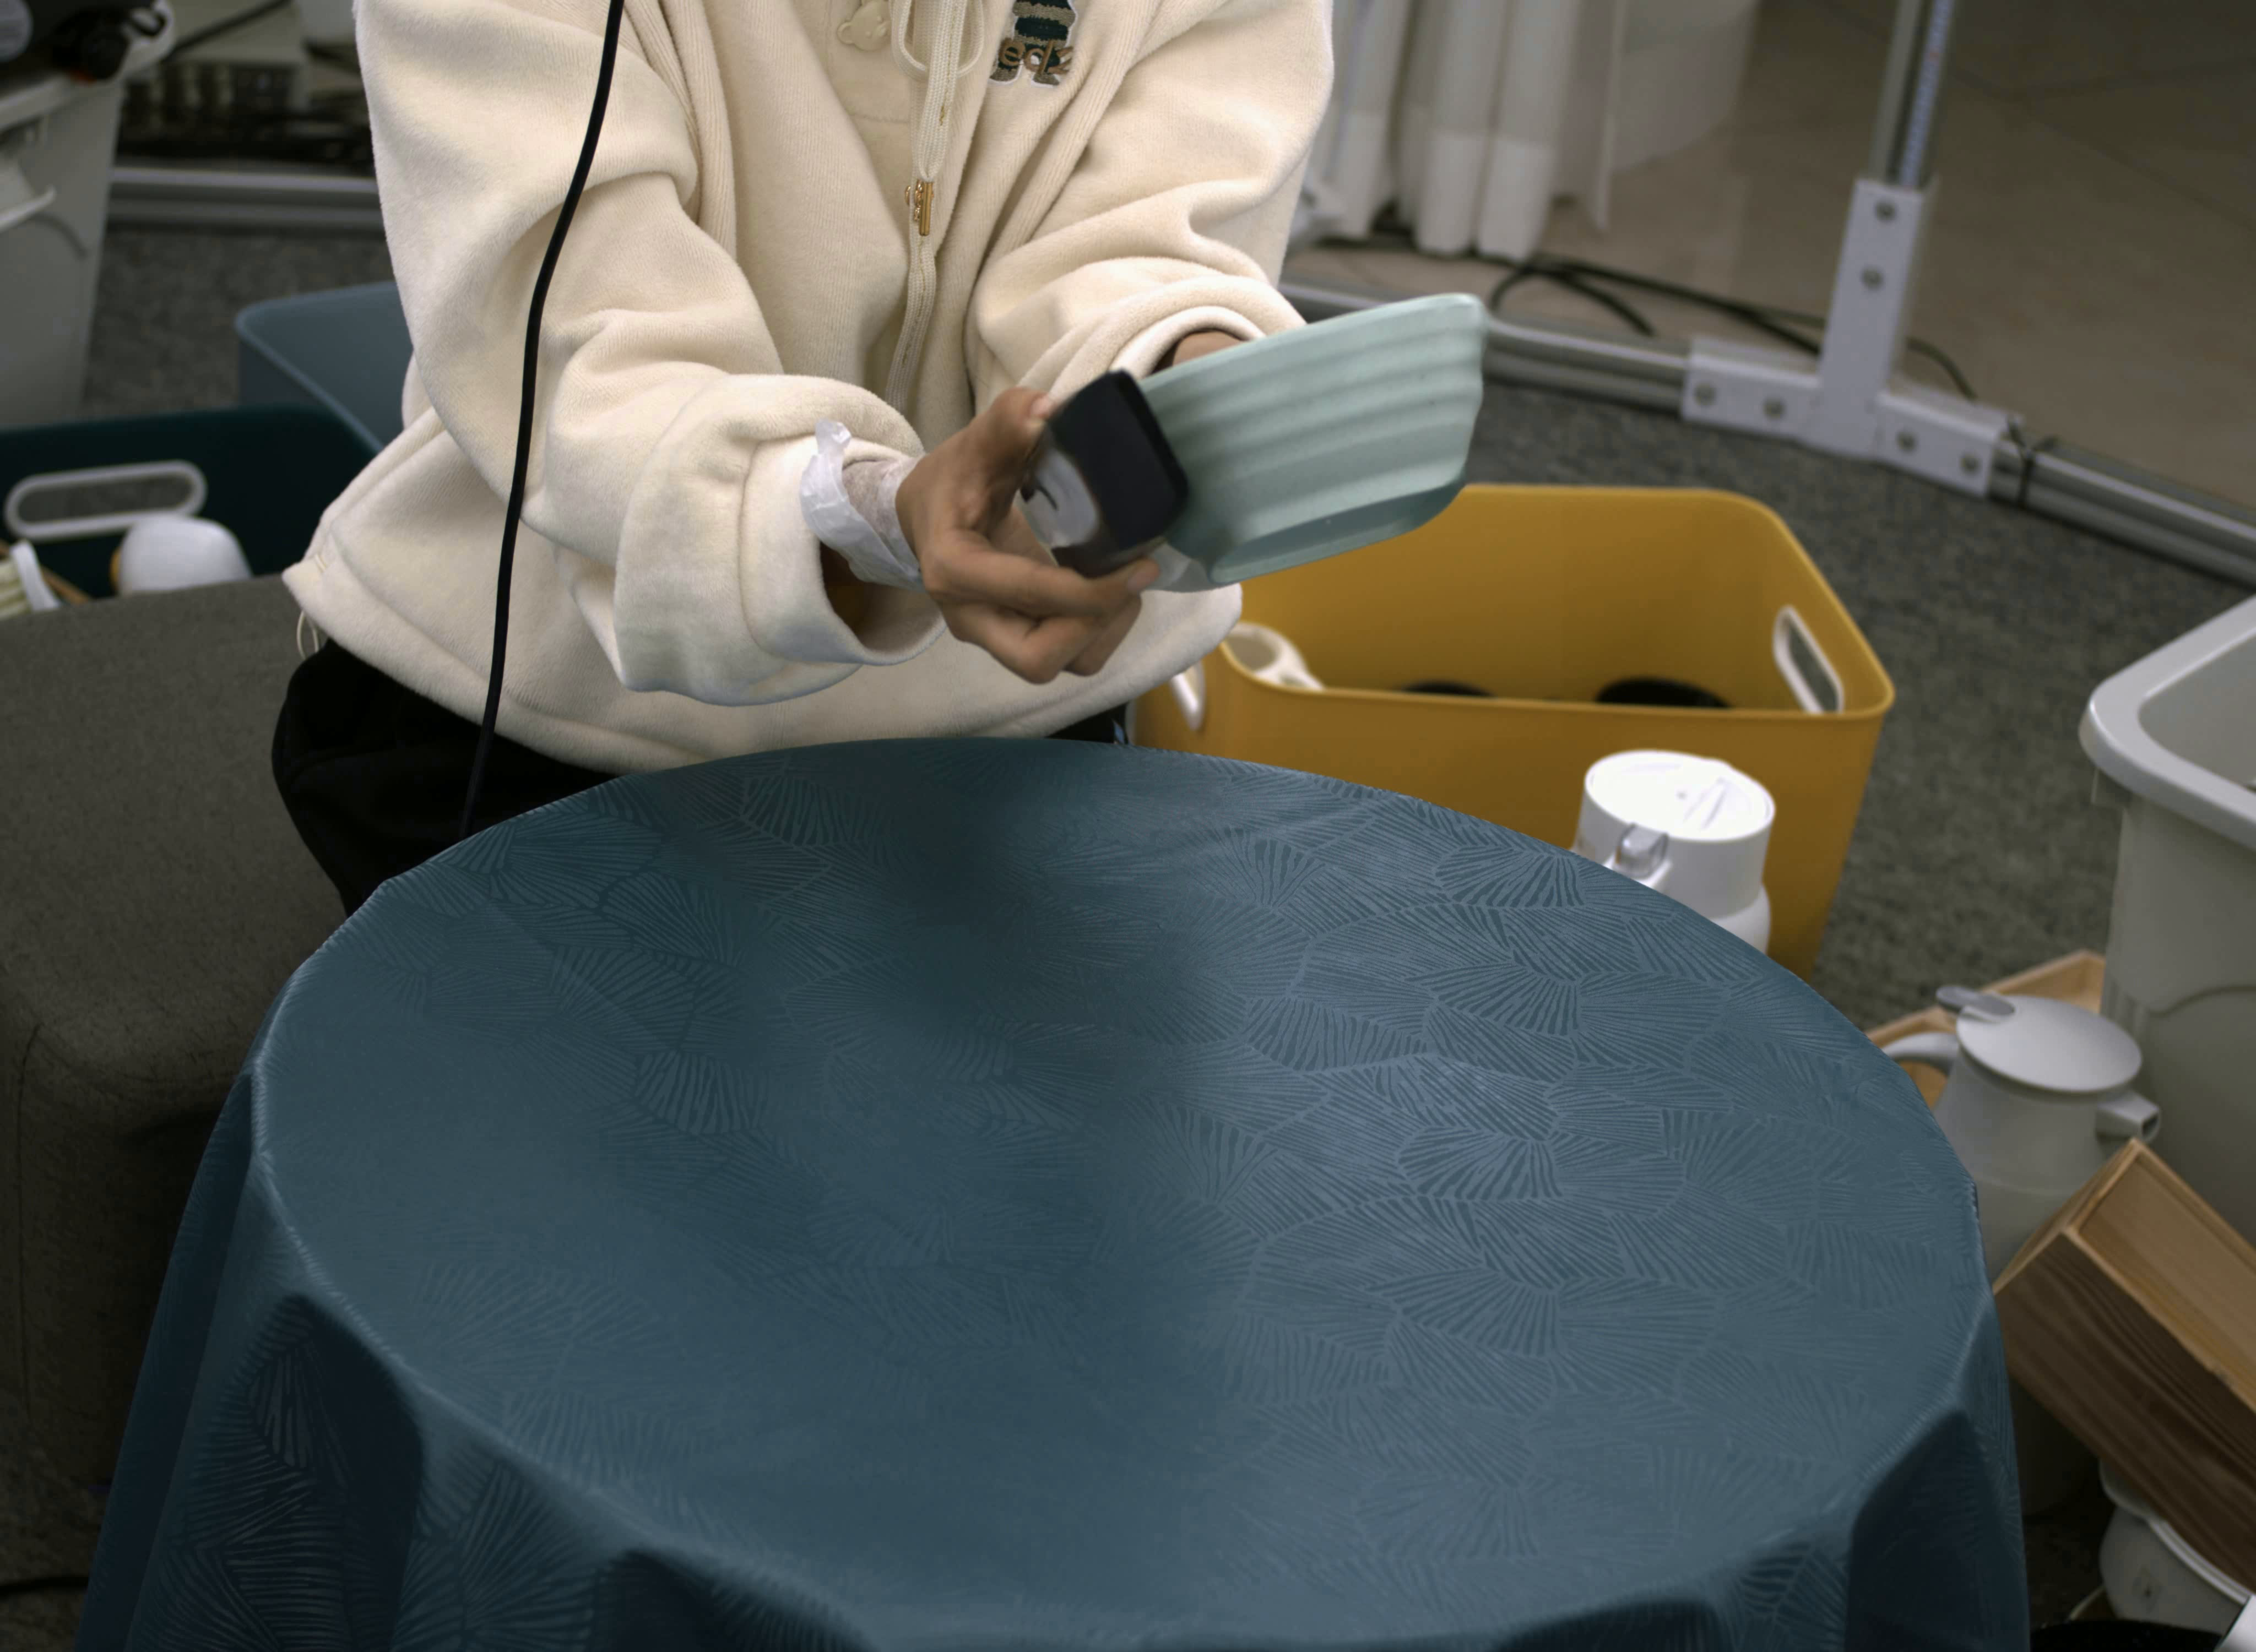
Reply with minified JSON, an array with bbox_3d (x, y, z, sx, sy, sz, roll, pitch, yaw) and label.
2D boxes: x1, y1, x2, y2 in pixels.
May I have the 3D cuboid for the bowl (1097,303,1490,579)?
[{"bbox_3d":[0.057,-0.122,1.752,0.151,0.059,0.151,-14,-6,-2],"label":"bowl"}]

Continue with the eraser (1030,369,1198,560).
[{"bbox_3d":[-0.006,-0.114,1.686,0.030,0.053,0.125,-34,2,-2],"label":"eraser"}]
